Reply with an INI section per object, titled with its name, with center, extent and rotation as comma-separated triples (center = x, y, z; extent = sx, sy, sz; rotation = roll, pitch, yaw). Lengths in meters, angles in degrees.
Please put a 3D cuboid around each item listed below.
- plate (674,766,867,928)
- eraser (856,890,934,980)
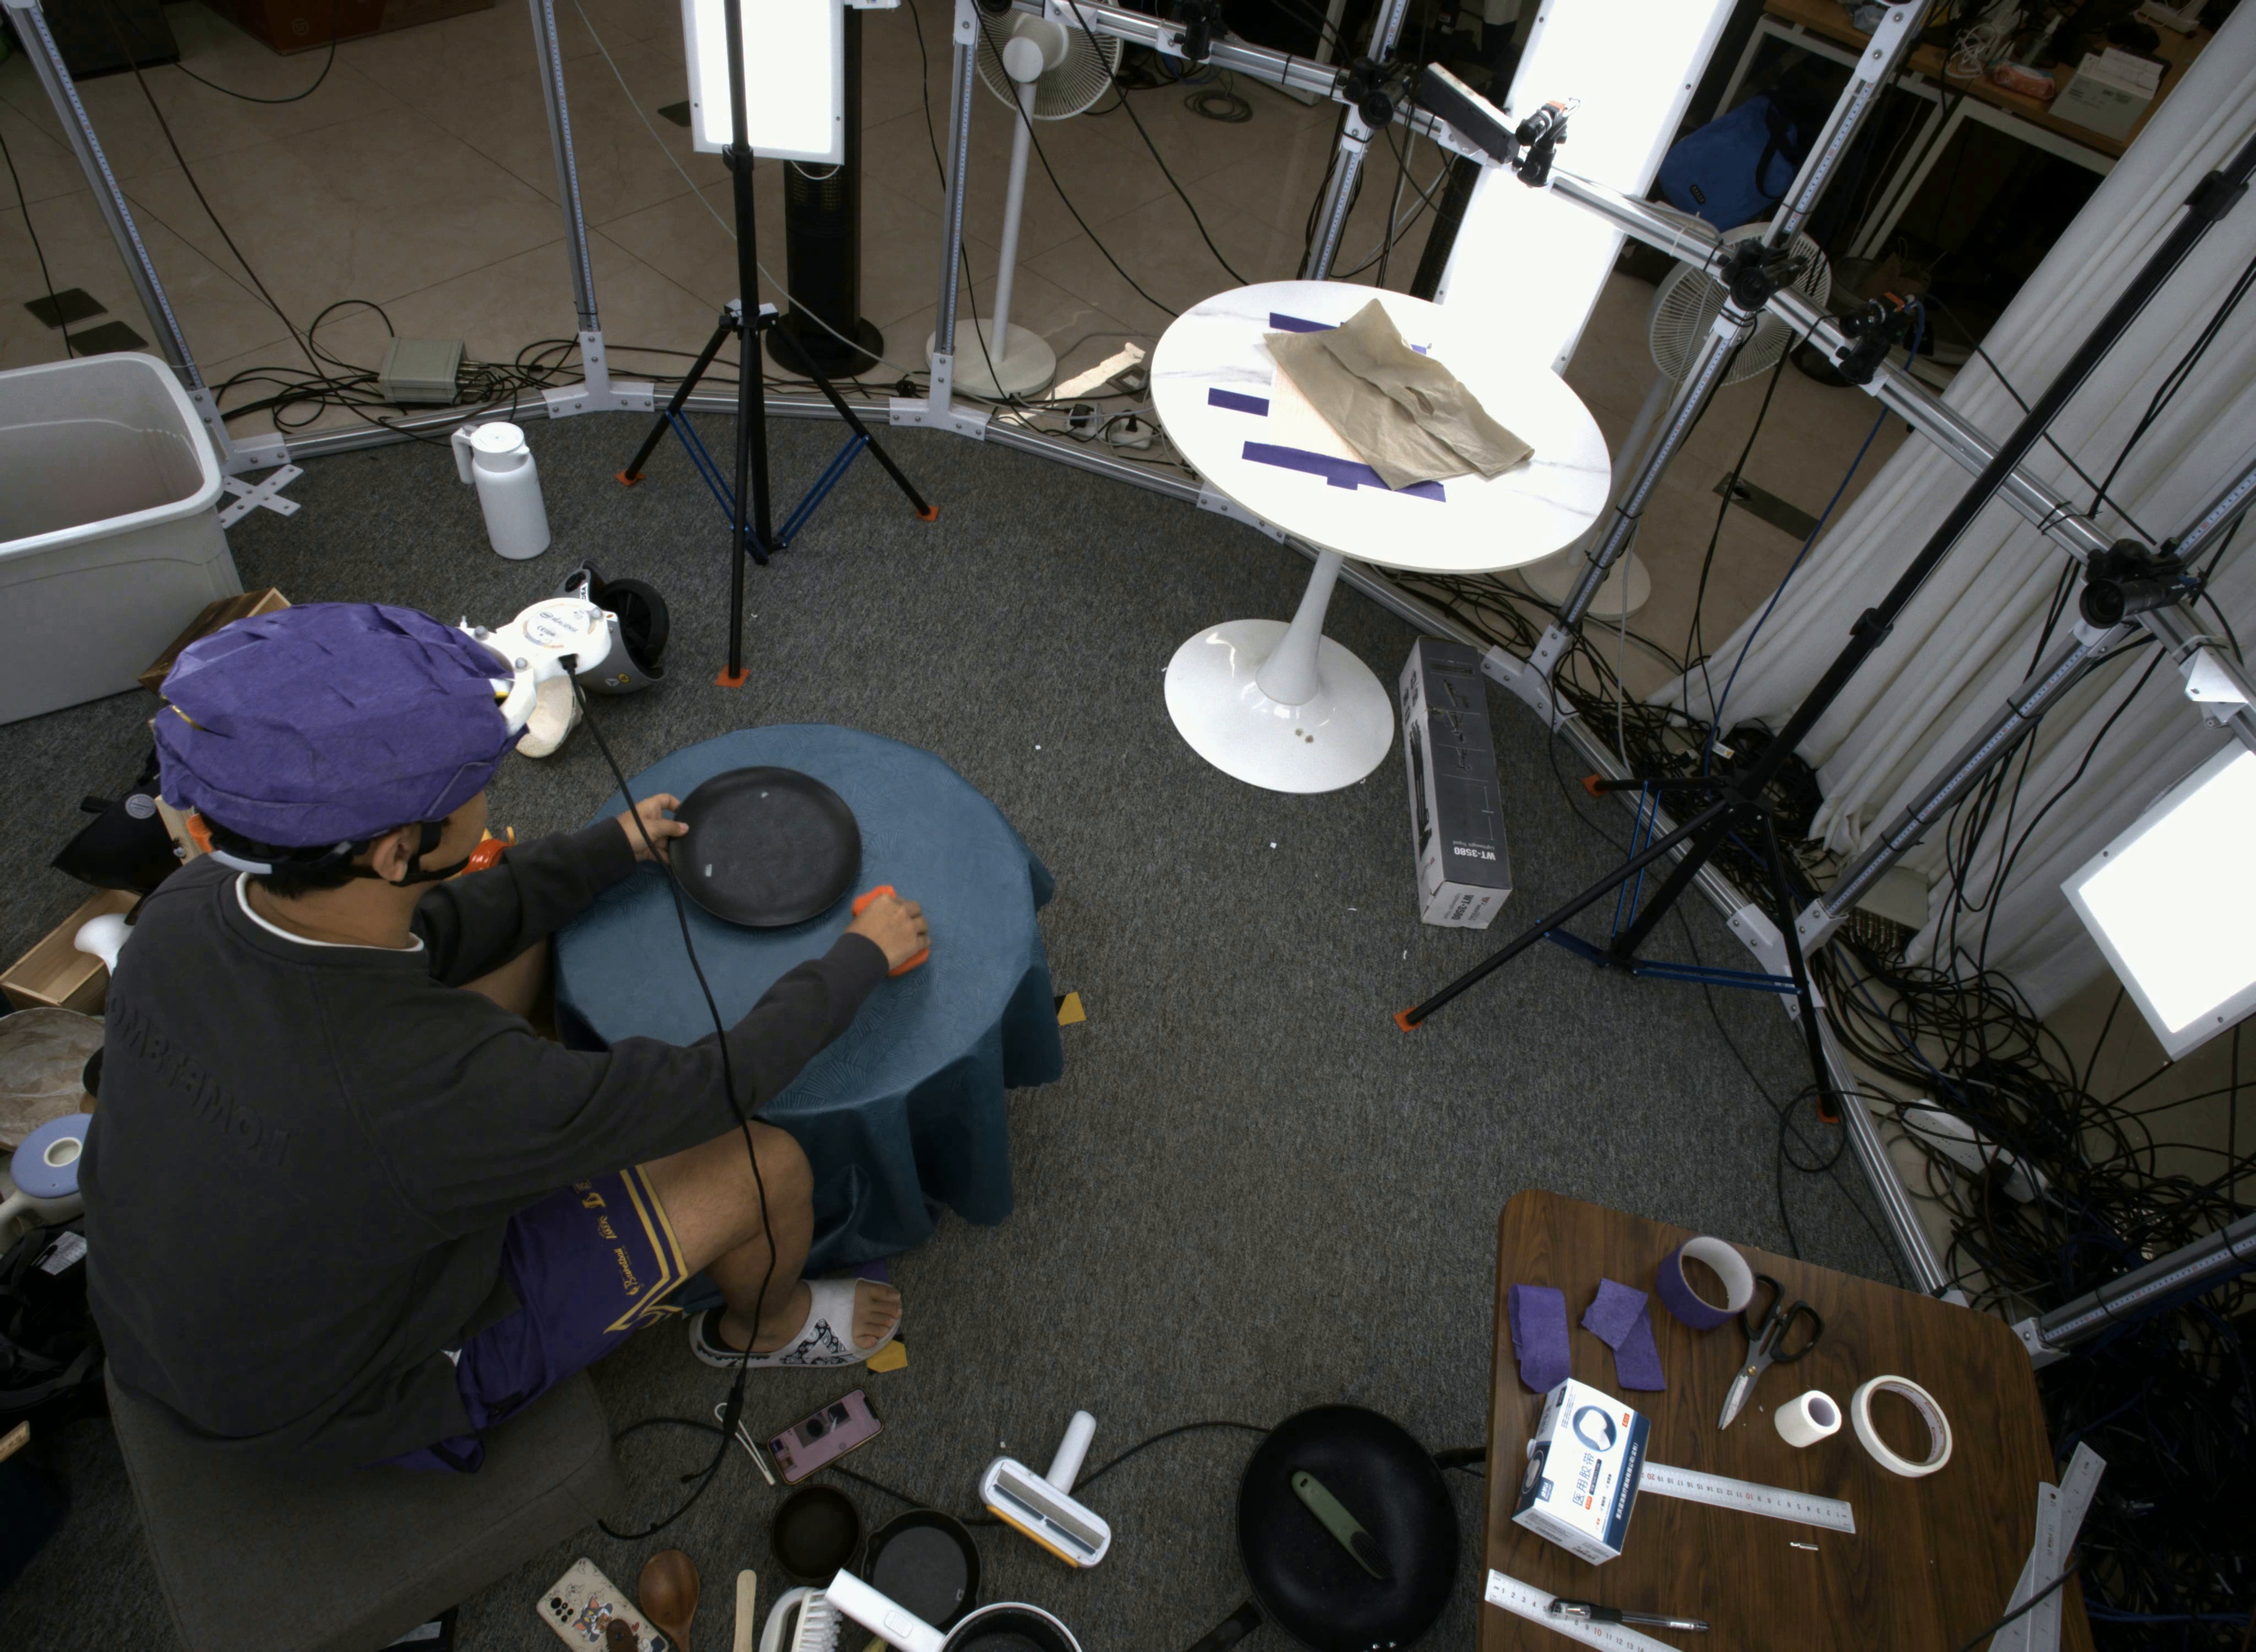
[plate]
center = -0.461, 0.027, 1.672
extent = 0.245, 0.024, 0.240
rotation = 10, 56, -13
[eraser]
center = -0.291, 0.133, 1.622
extent = 0.059, 0.023, 0.106
rotation = -26, 73, -30
